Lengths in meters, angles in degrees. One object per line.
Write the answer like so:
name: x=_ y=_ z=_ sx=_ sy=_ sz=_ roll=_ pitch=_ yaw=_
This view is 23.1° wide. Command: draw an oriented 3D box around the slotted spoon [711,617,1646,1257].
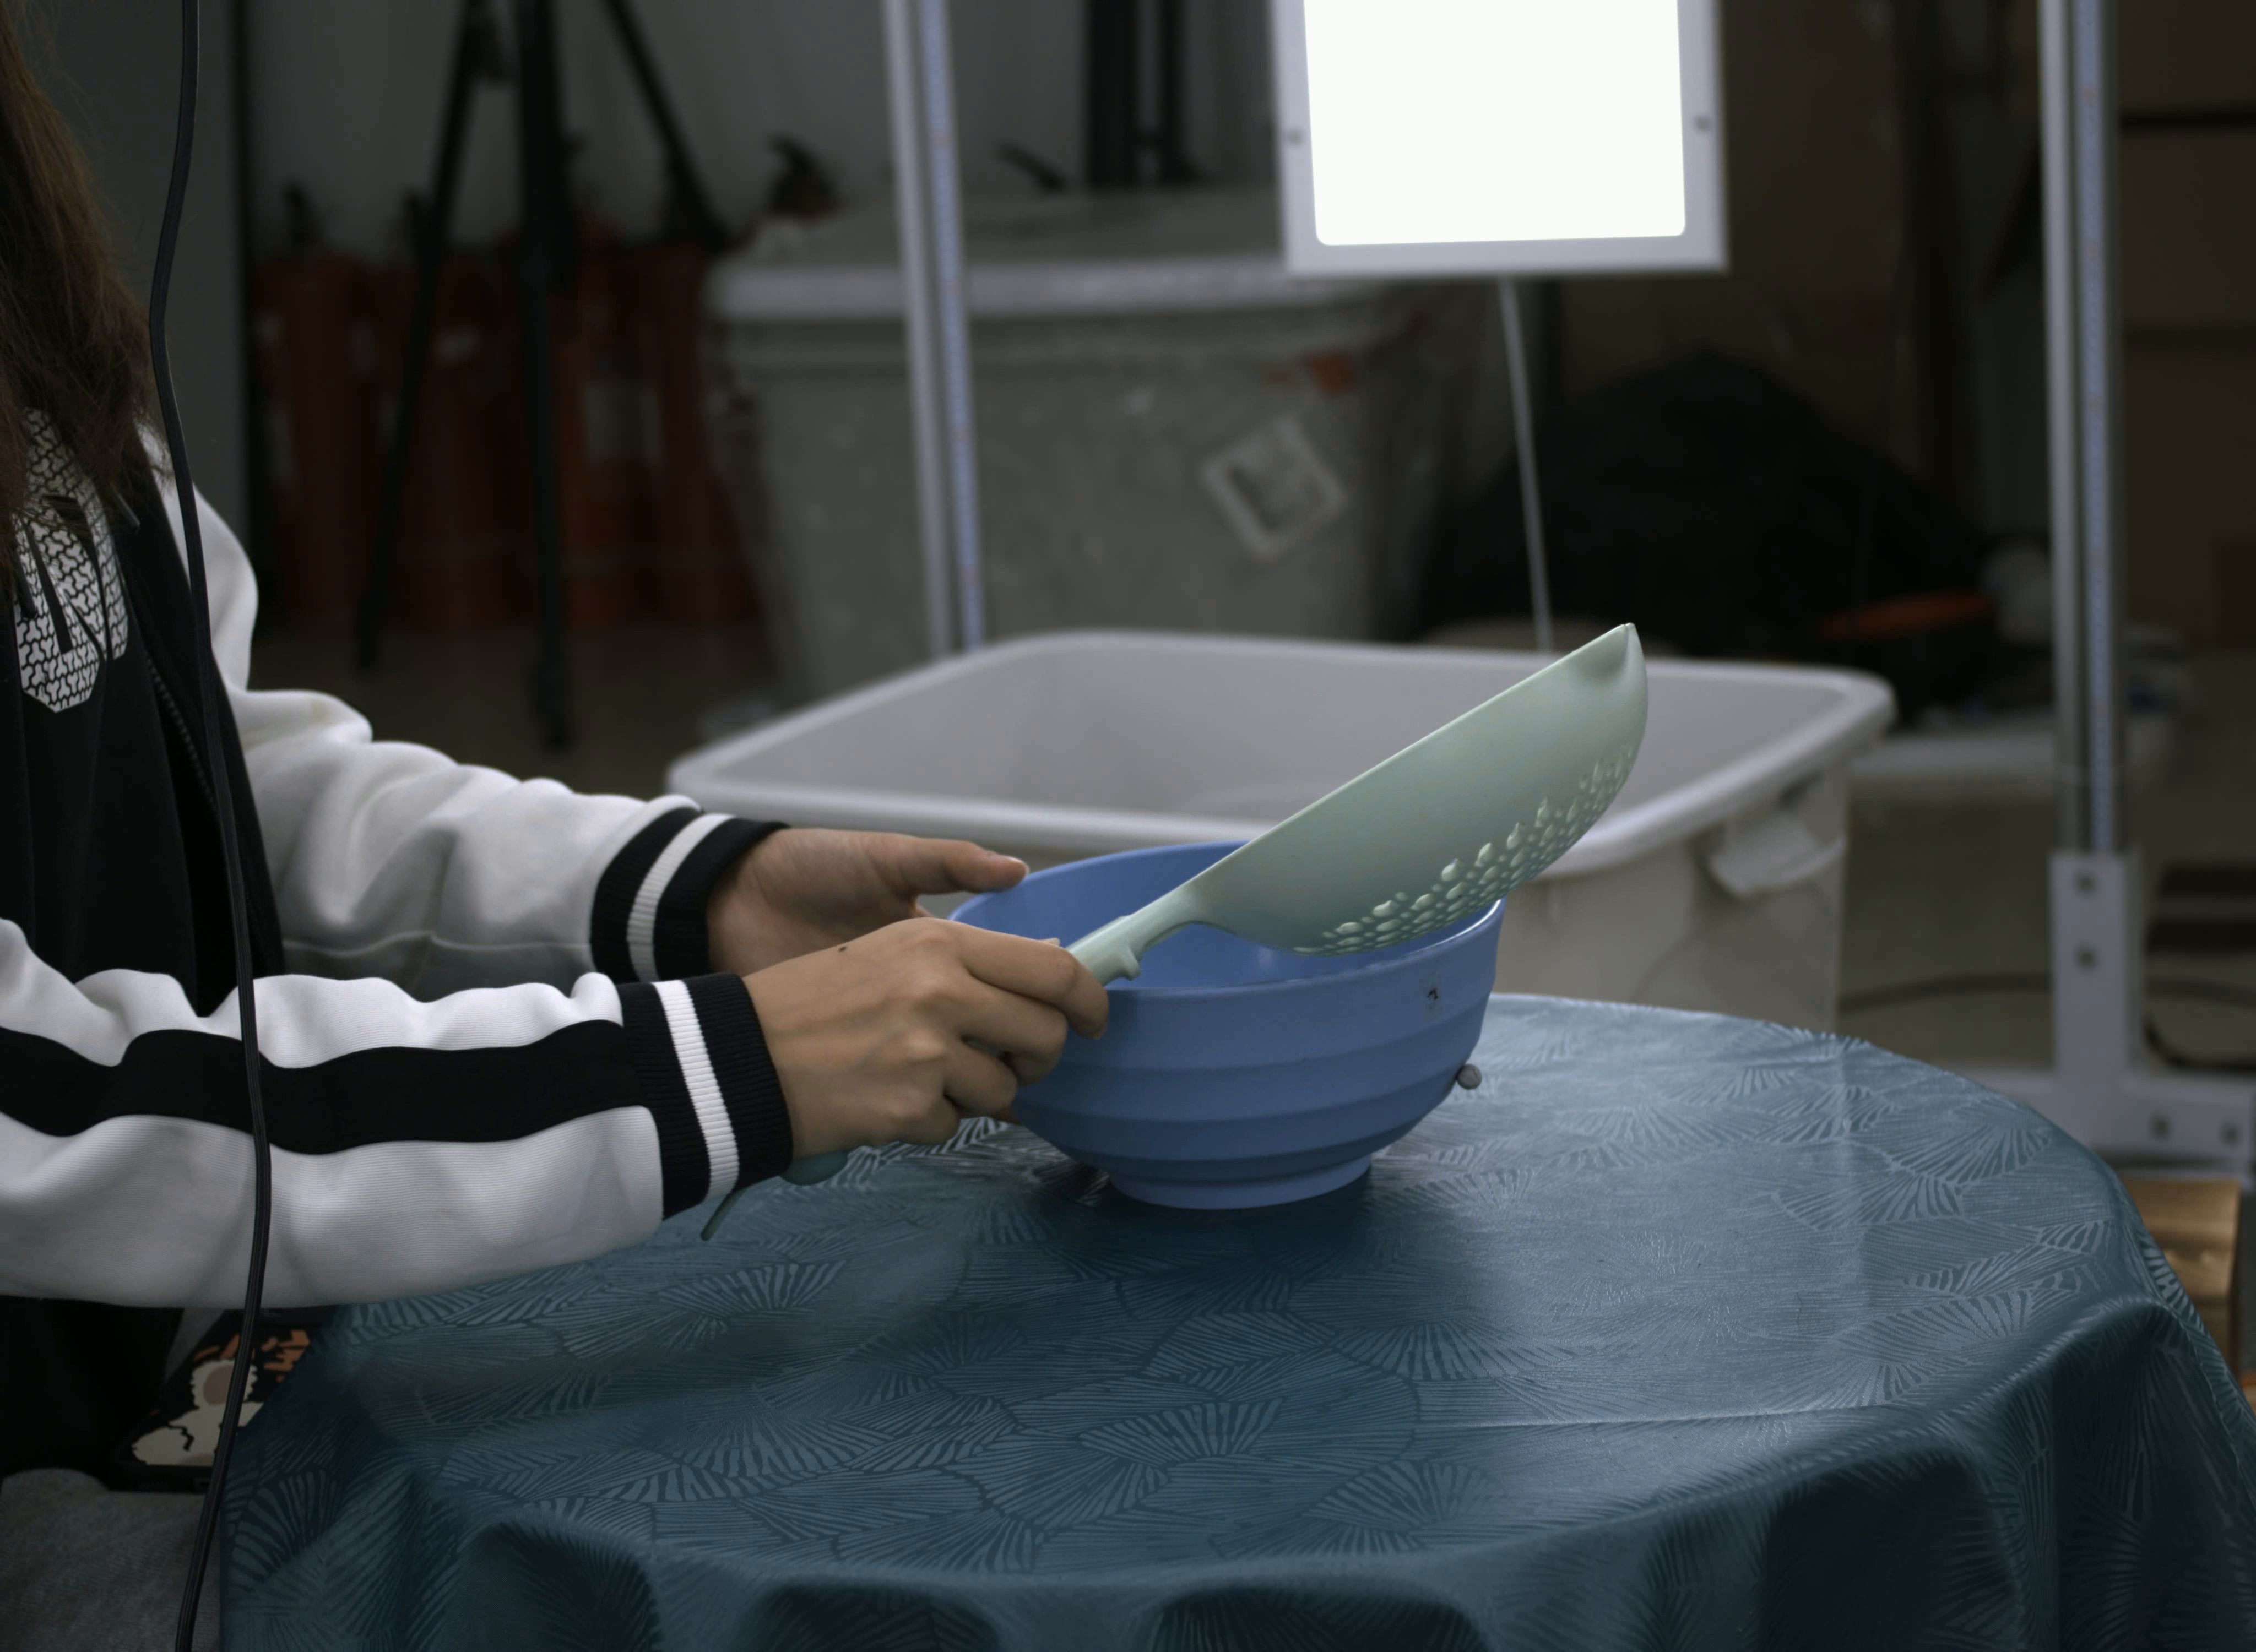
slotted spoon: x=0.015 y=0.036 z=1.795 sx=0.357 sy=0.075 sz=0.170 roll=-23 pitch=-3 yaw=-4

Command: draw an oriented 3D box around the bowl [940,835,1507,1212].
bowl: x=0.036 y=0.074 z=1.901 sx=0.196 sy=0.096 sz=0.196 roll=-5 pitch=14 yaw=0
